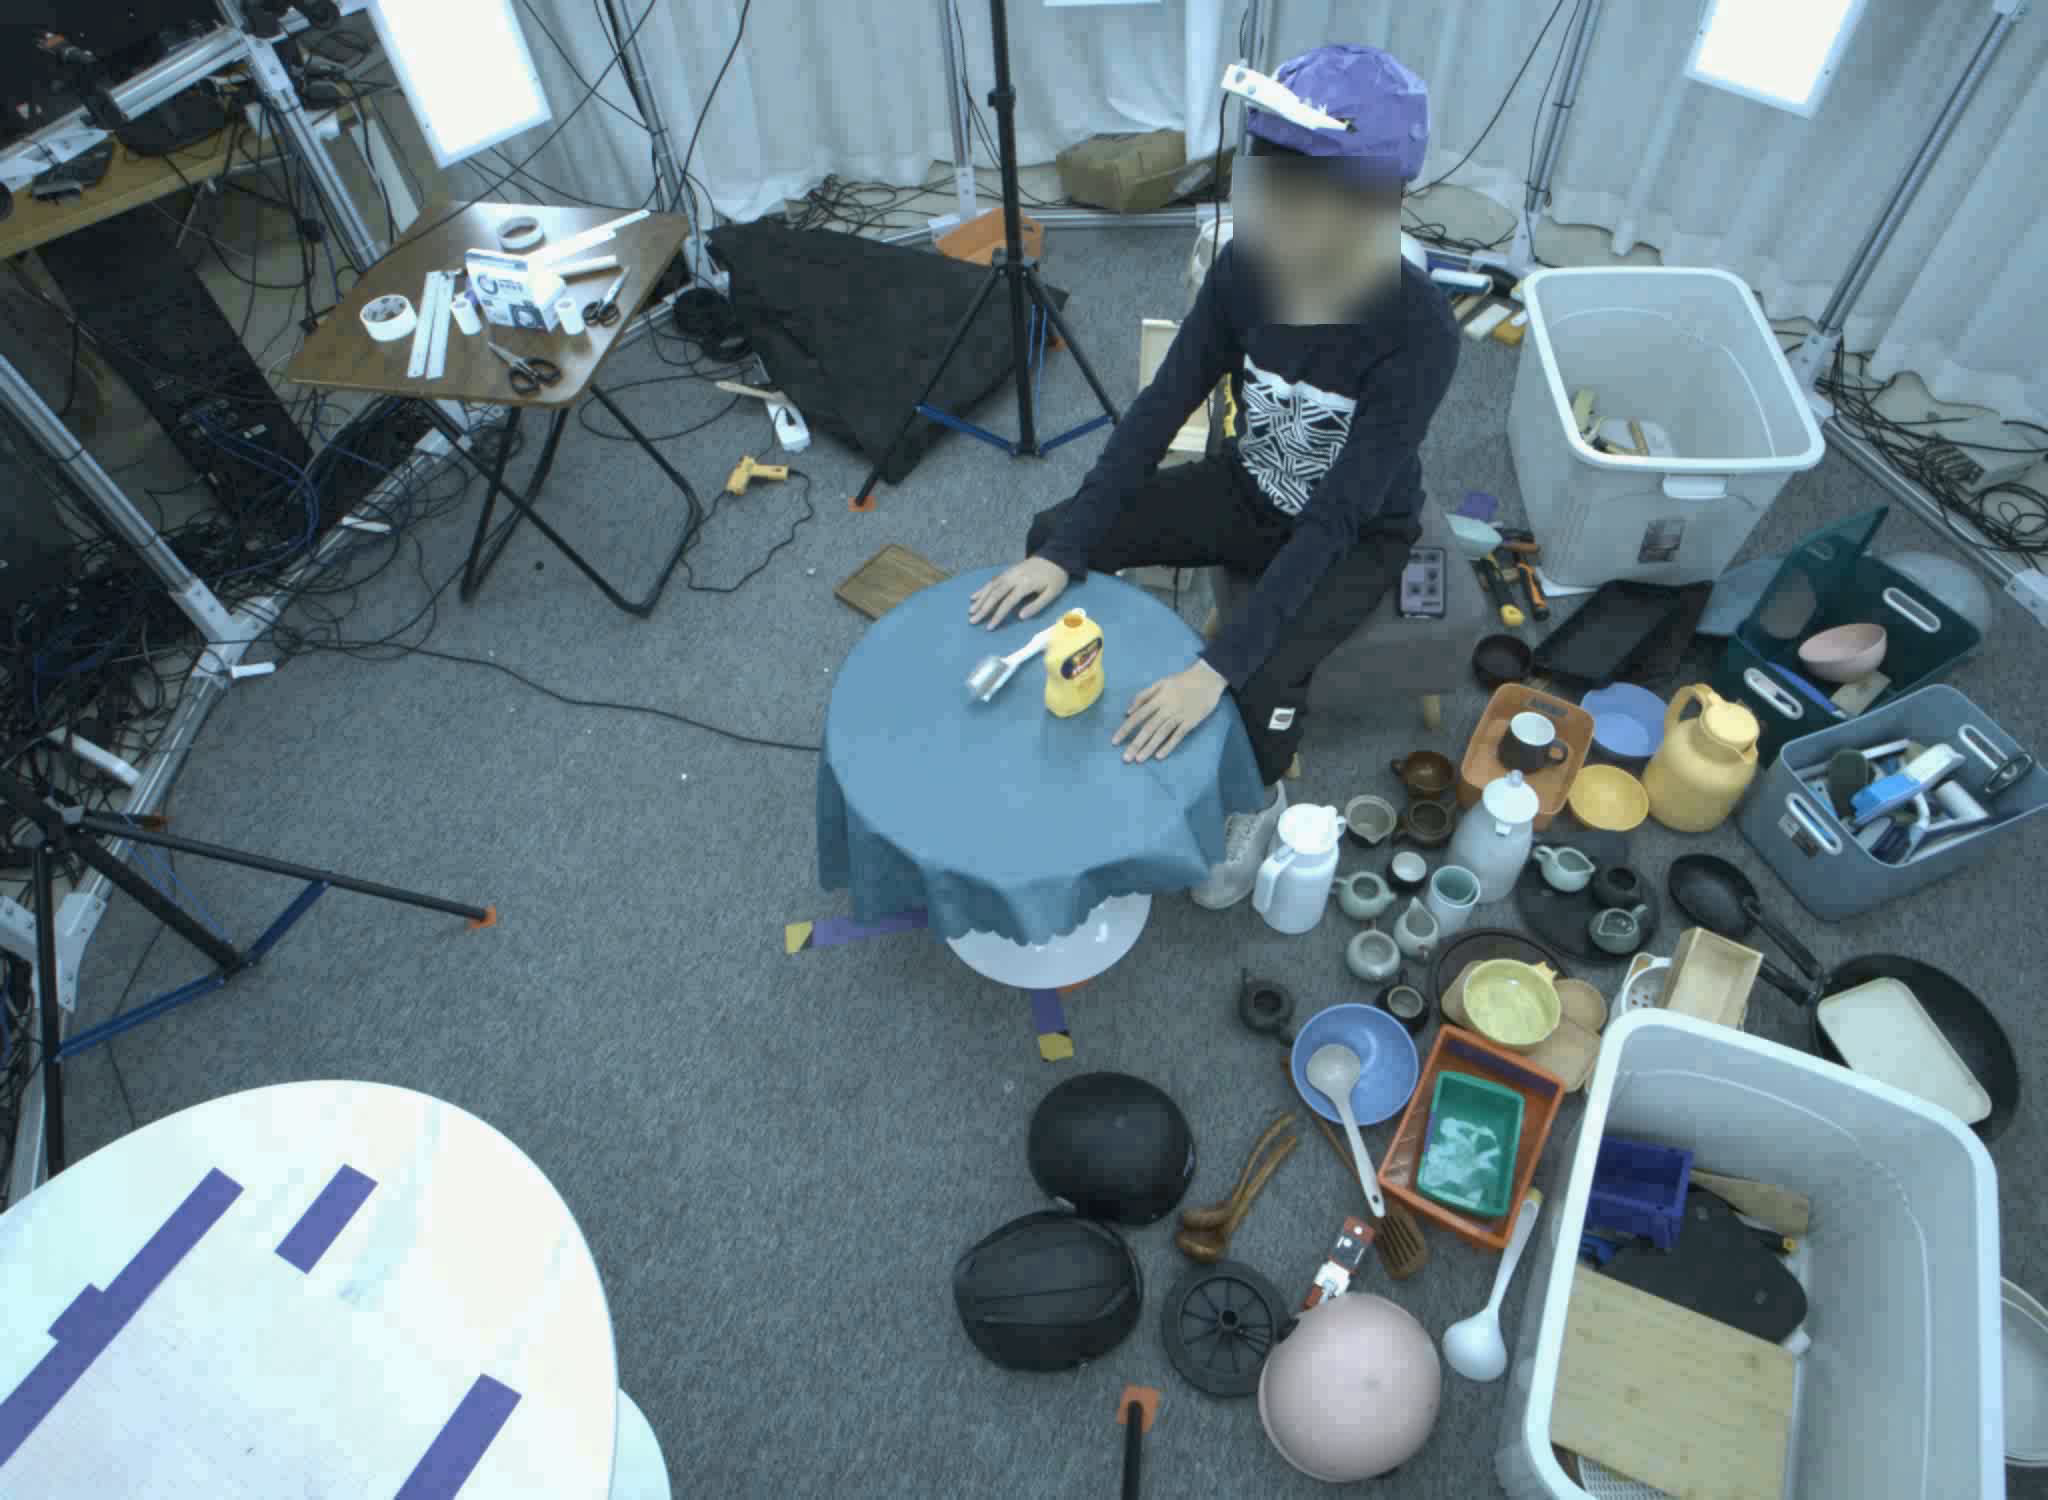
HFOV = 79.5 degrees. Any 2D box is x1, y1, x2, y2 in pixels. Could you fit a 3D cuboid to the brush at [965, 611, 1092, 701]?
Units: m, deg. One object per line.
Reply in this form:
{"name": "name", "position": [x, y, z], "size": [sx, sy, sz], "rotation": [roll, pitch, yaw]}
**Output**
{"name": "brush", "position": [0.010, -0.156, 1.862], "size": [0.245, 0.051, 0.033], "rotation": [-38, 56, -22]}

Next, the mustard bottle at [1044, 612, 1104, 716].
{"name": "mustard bottle", "position": [0.072, -0.130, 1.764], "size": [0.058, 0.173, 0.099], "rotation": [39, 63, 24]}
